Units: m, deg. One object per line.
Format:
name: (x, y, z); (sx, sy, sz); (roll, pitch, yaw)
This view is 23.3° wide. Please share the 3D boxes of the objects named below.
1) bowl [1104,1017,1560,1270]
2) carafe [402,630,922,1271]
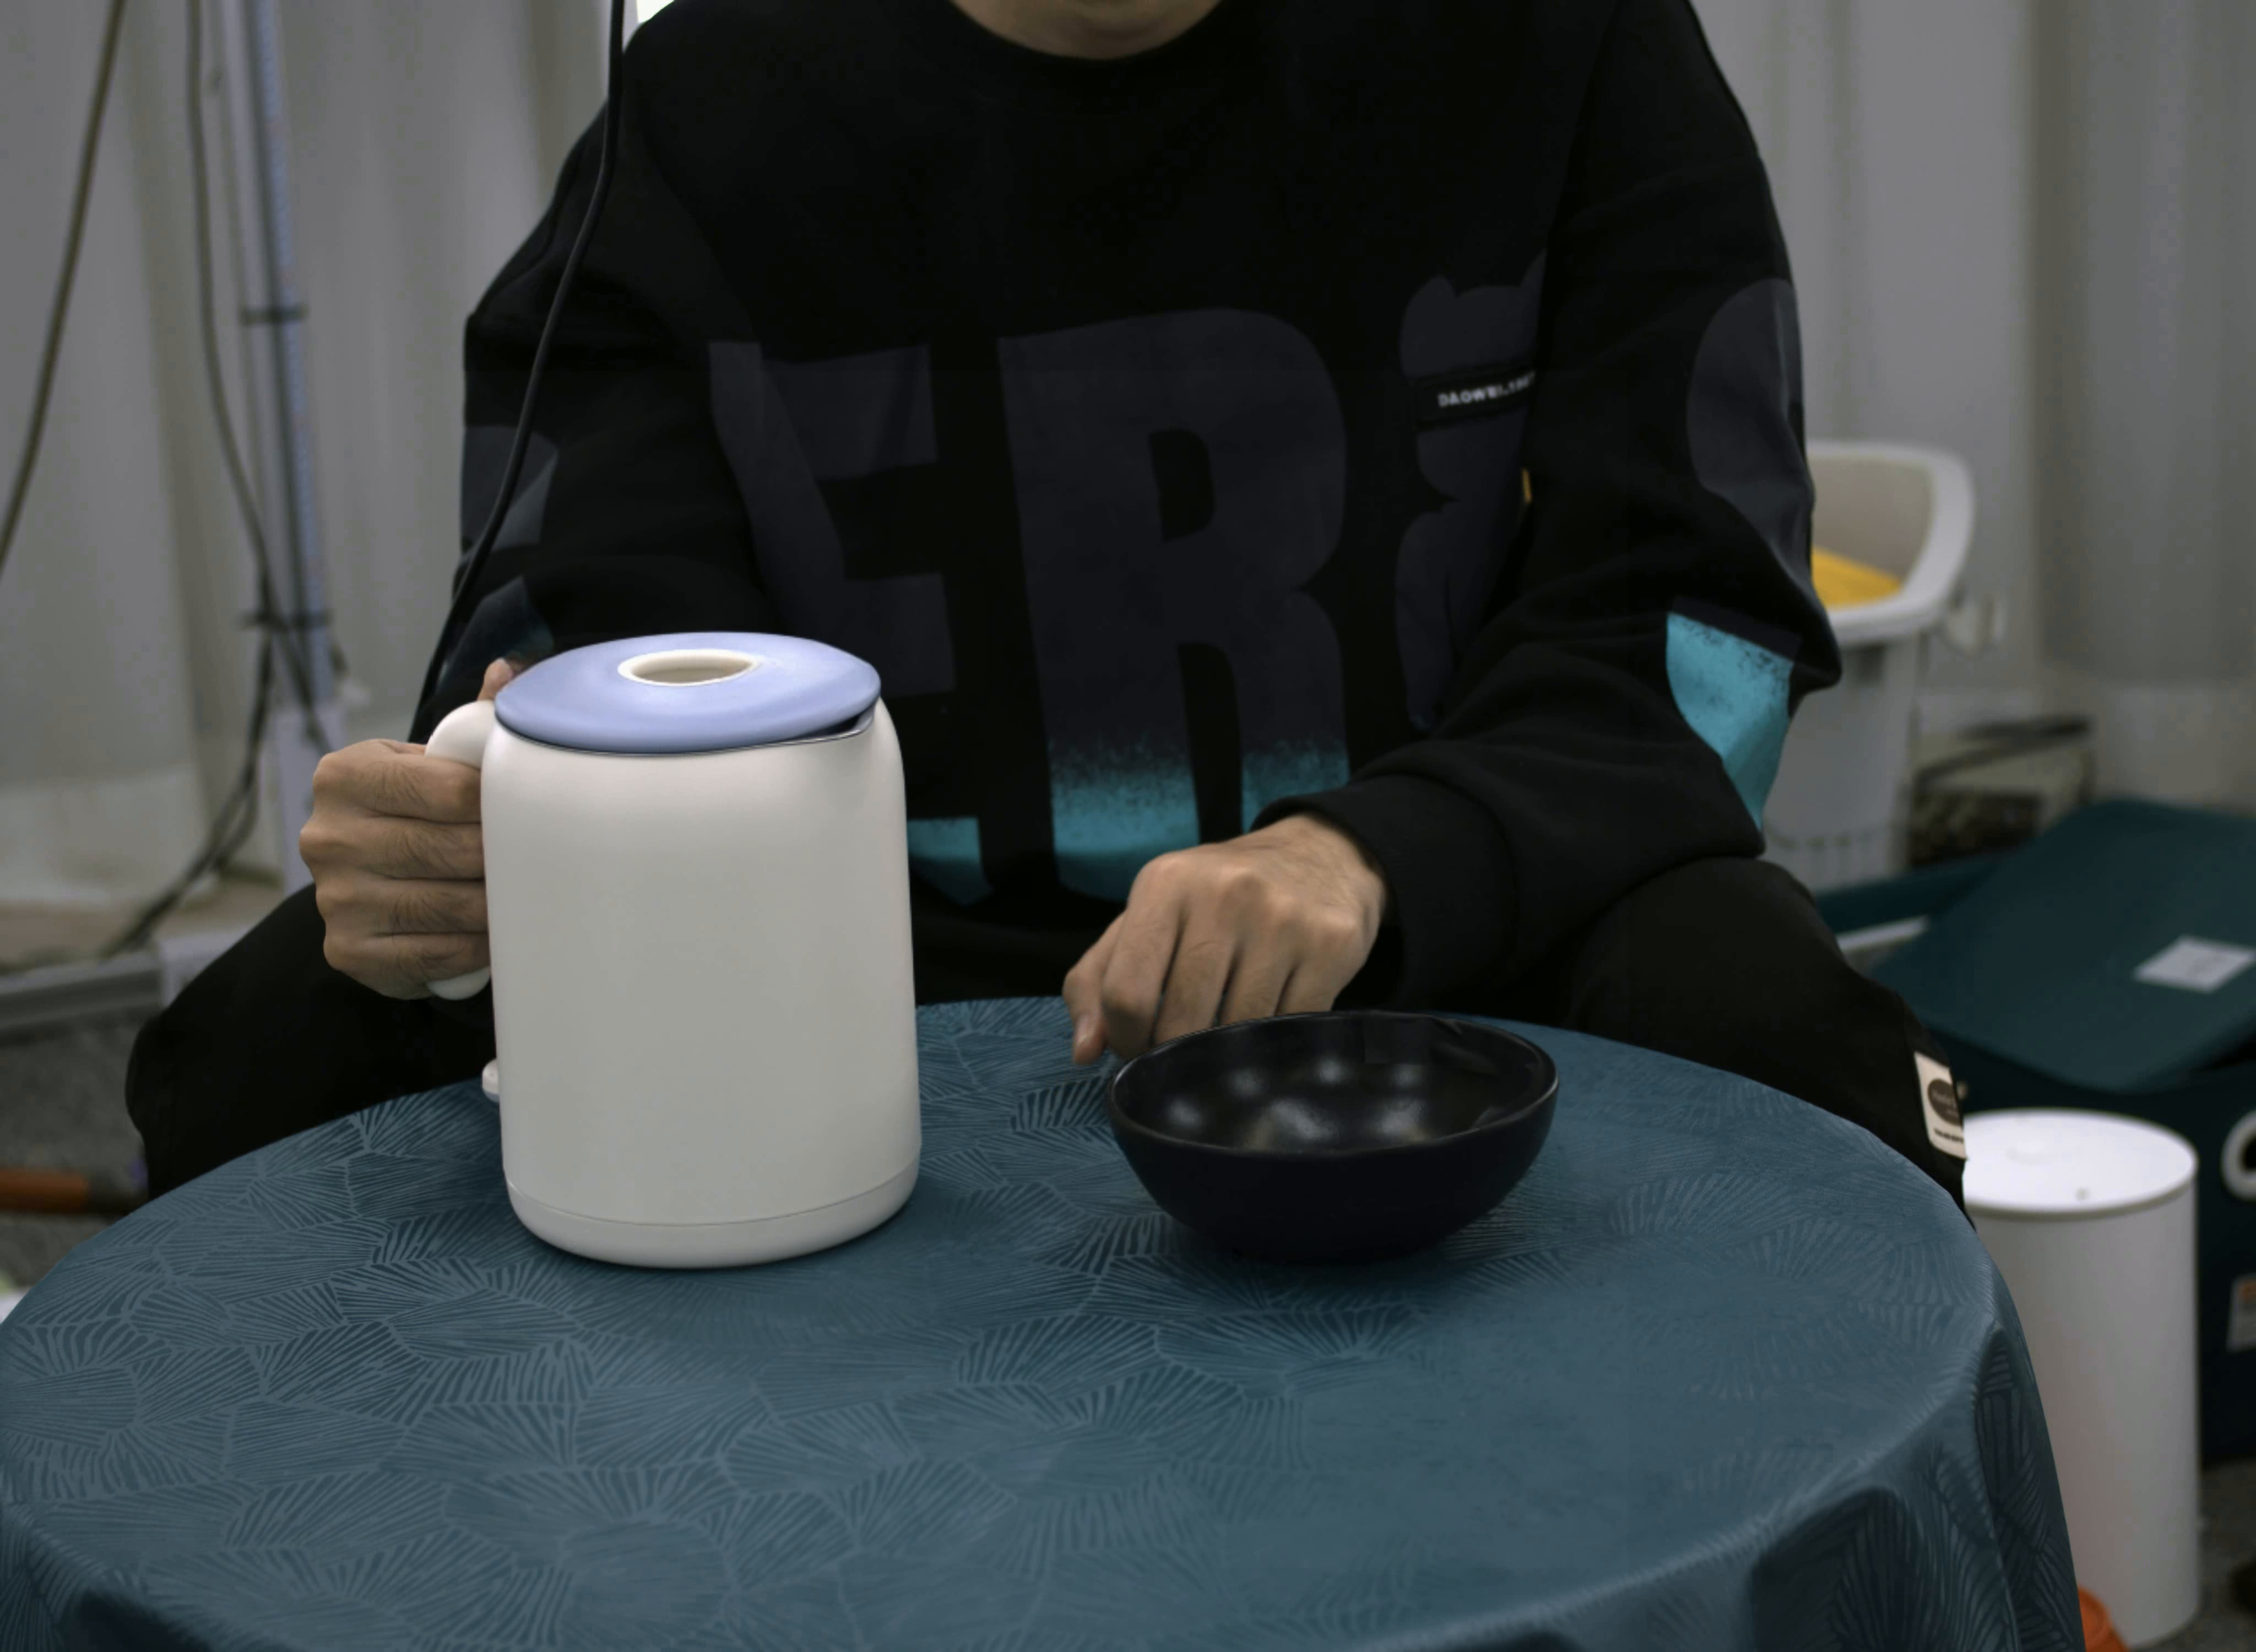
bowl: (0.063, 0.101, 1.661); (0.139, 0.049, 0.141); (-4, 13, 1)
carafe: (-0.152, 0.035, 1.709); (0.192, 0.182, 0.132); (6, 16, 36)
